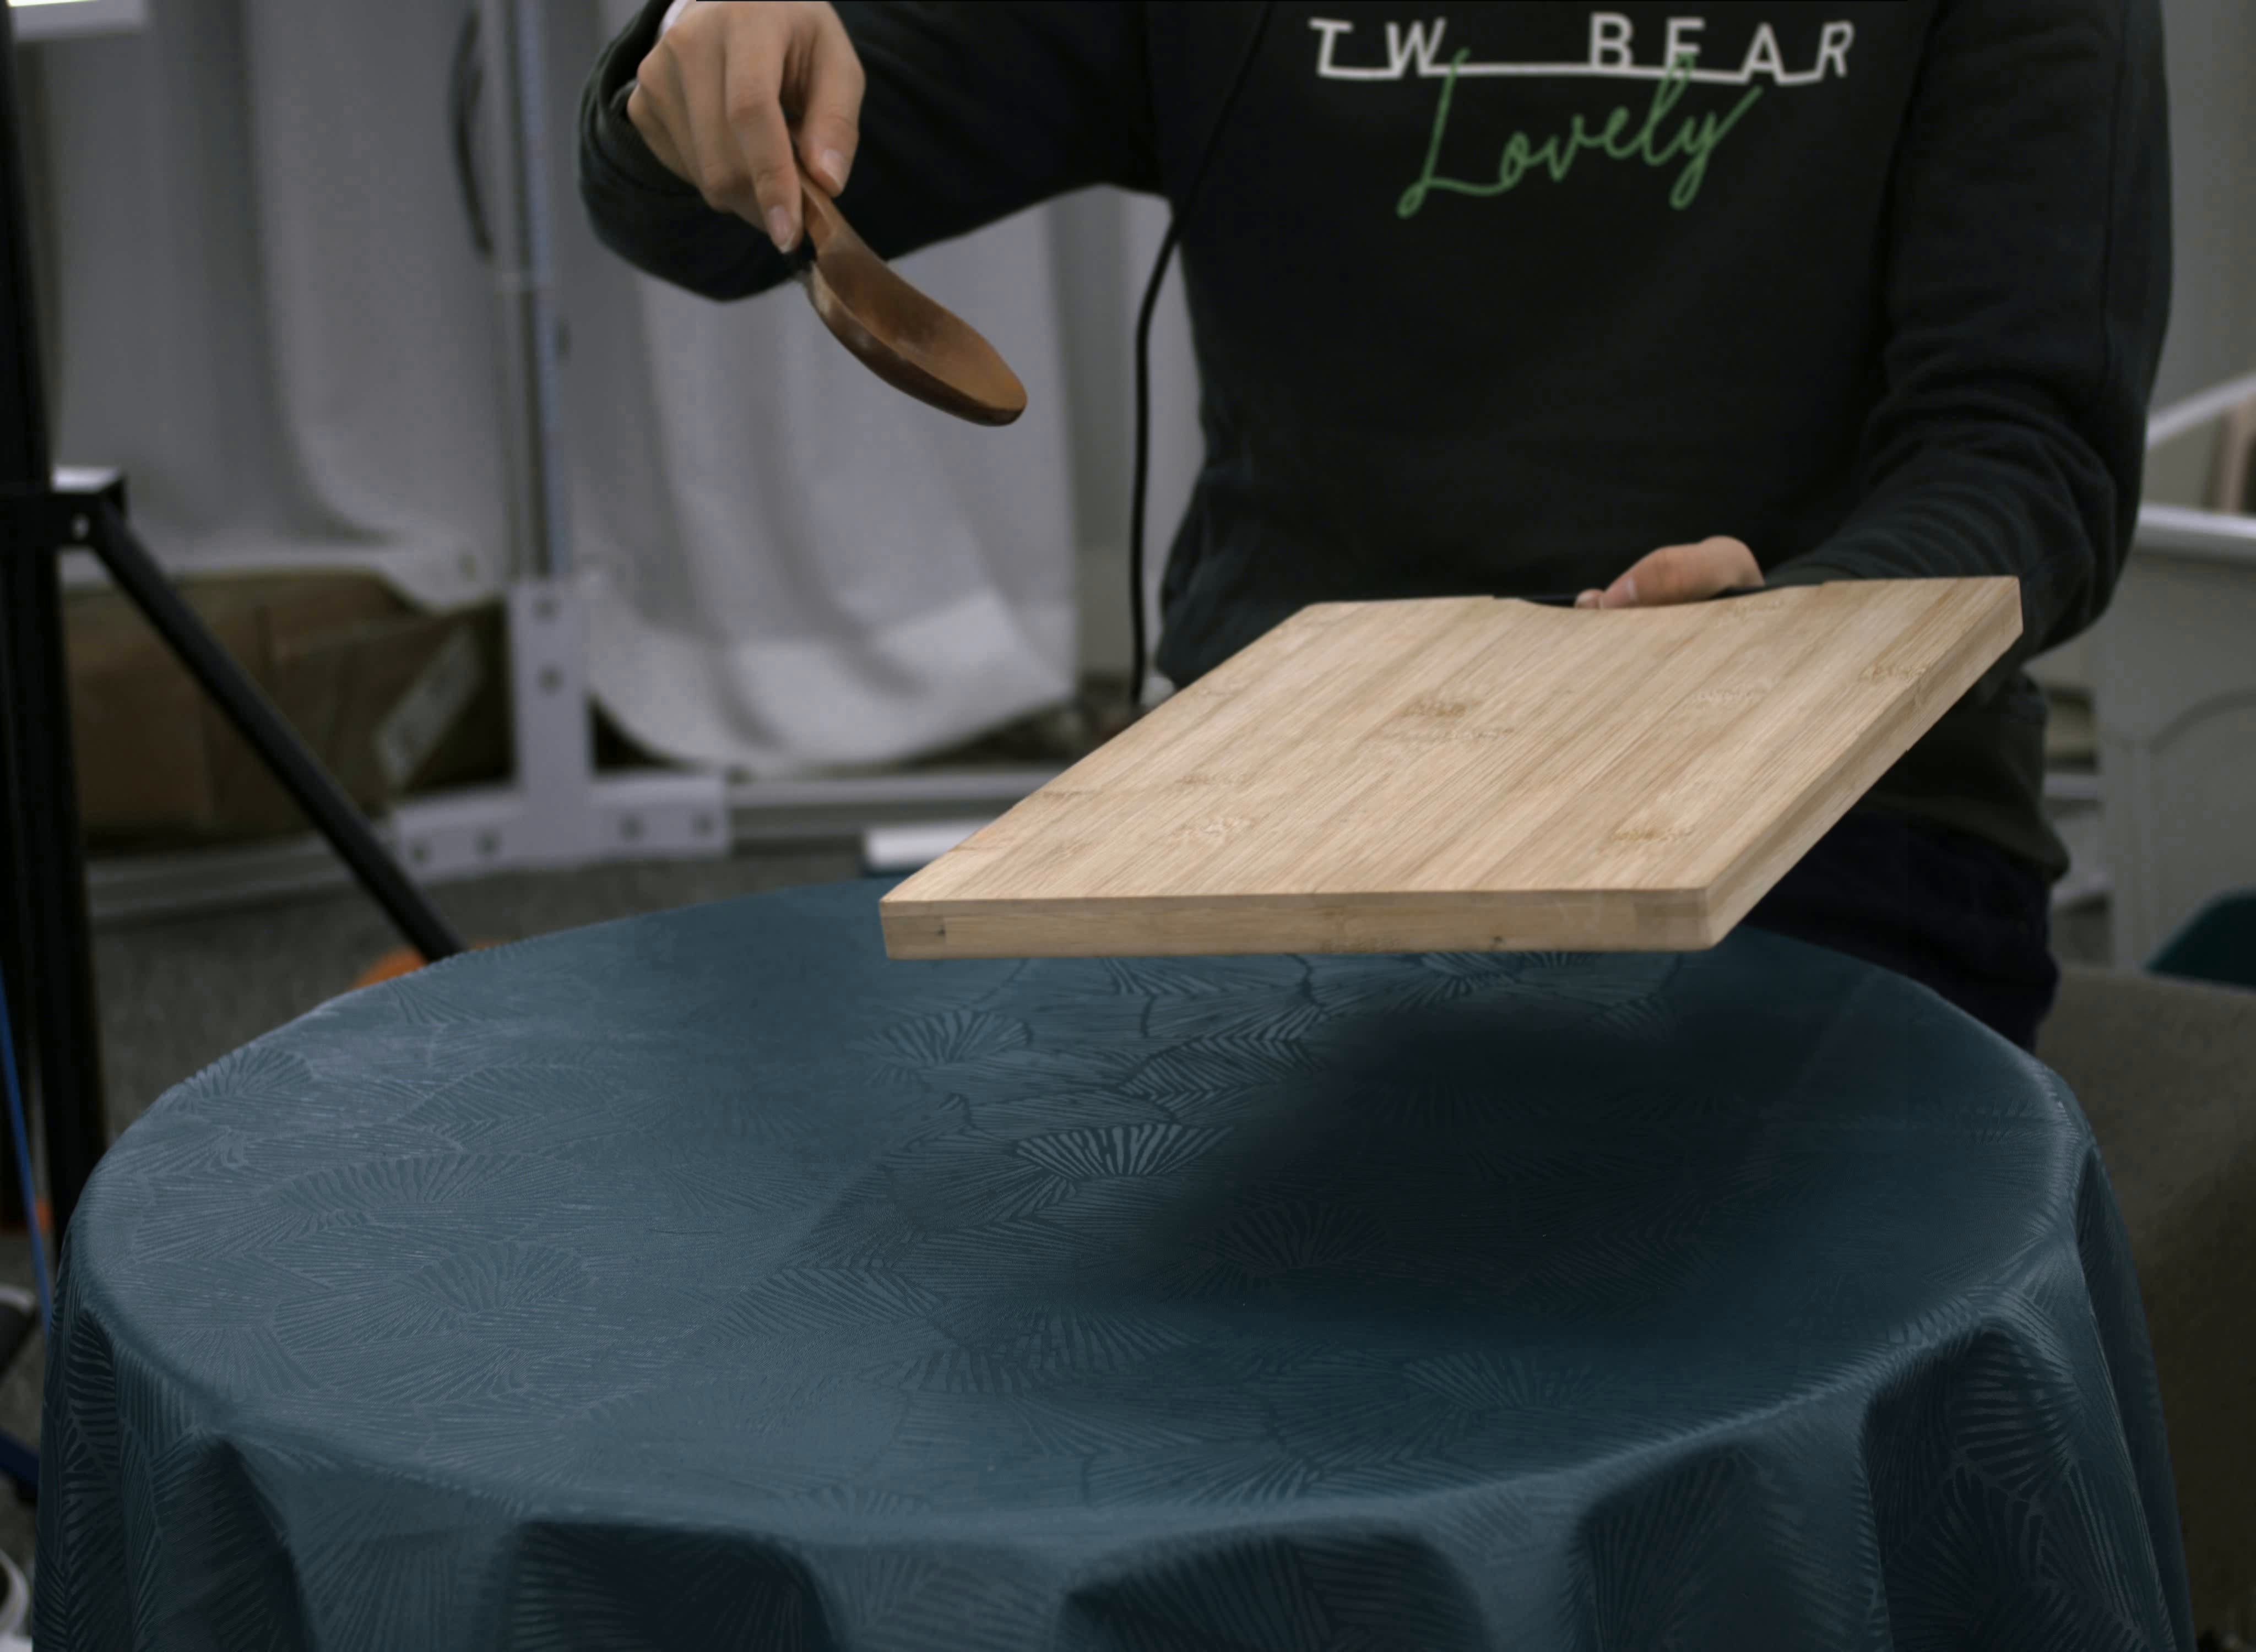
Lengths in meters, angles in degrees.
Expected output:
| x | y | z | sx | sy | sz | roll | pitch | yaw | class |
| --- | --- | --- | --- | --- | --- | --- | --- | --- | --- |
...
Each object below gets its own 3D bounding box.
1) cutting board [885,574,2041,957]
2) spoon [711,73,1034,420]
| x | y | z | sx | sy | sz | roll | pitch | yaw | class |
| --- | --- | --- | --- | --- | --- | --- | --- | --- | --- |
| 0.108 | -0.021 | 1.561 | 0.254 | 0.023 | 0.344 | -1 | 16 | 24 | cutting board |
| -0.088 | -0.180 | 1.663 | 0.073 | 0.017 | 0.220 | 17 | 24 | -33 | spoon |
